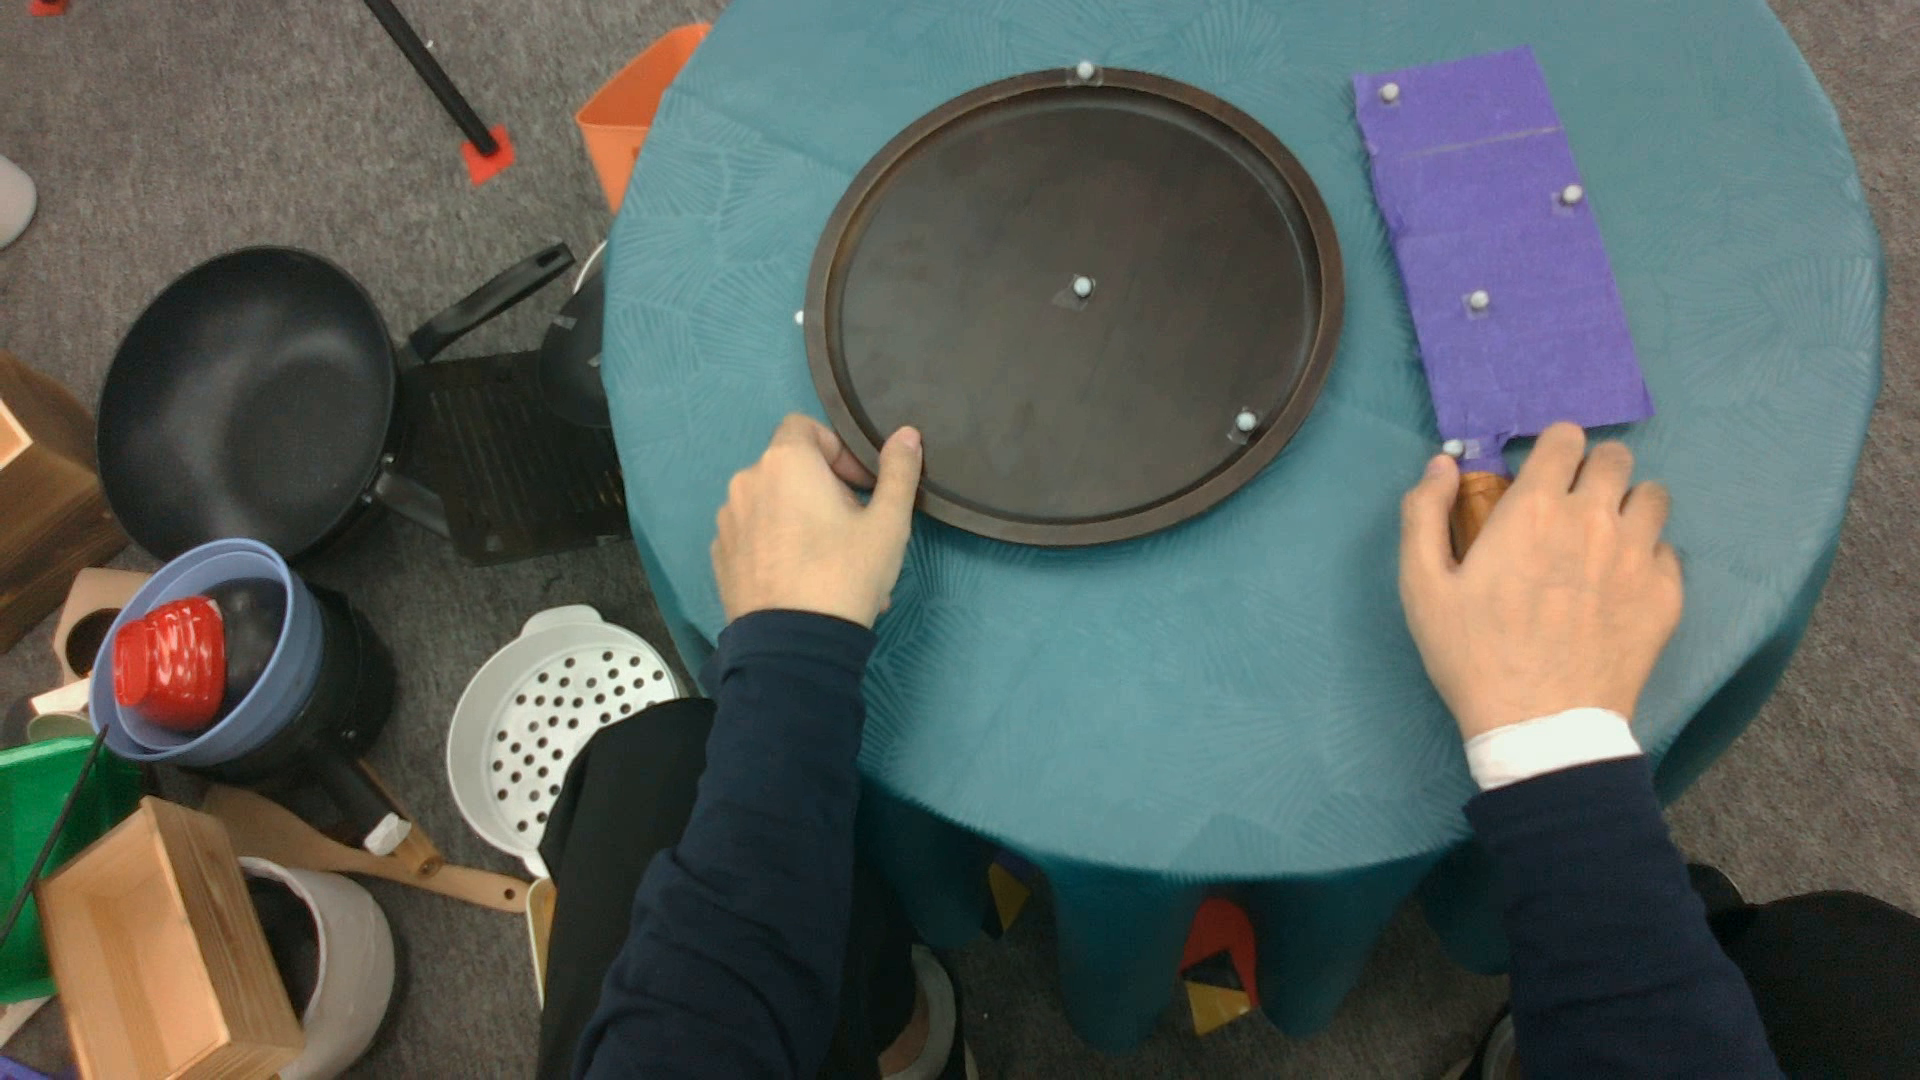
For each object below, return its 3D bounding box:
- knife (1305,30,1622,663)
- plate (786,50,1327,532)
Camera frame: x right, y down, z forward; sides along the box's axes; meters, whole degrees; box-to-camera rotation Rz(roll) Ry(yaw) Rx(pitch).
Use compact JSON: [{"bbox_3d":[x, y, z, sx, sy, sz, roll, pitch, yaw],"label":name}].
[{"bbox_3d":[0.239,-0.103,0.617,0.104,0.032,0.316,-9,69,5],"label":"knife"},{"bbox_3d":[0.043,-0.121,0.652,0.254,0.029,0.255,-3,69,7],"label":"plate"}]
